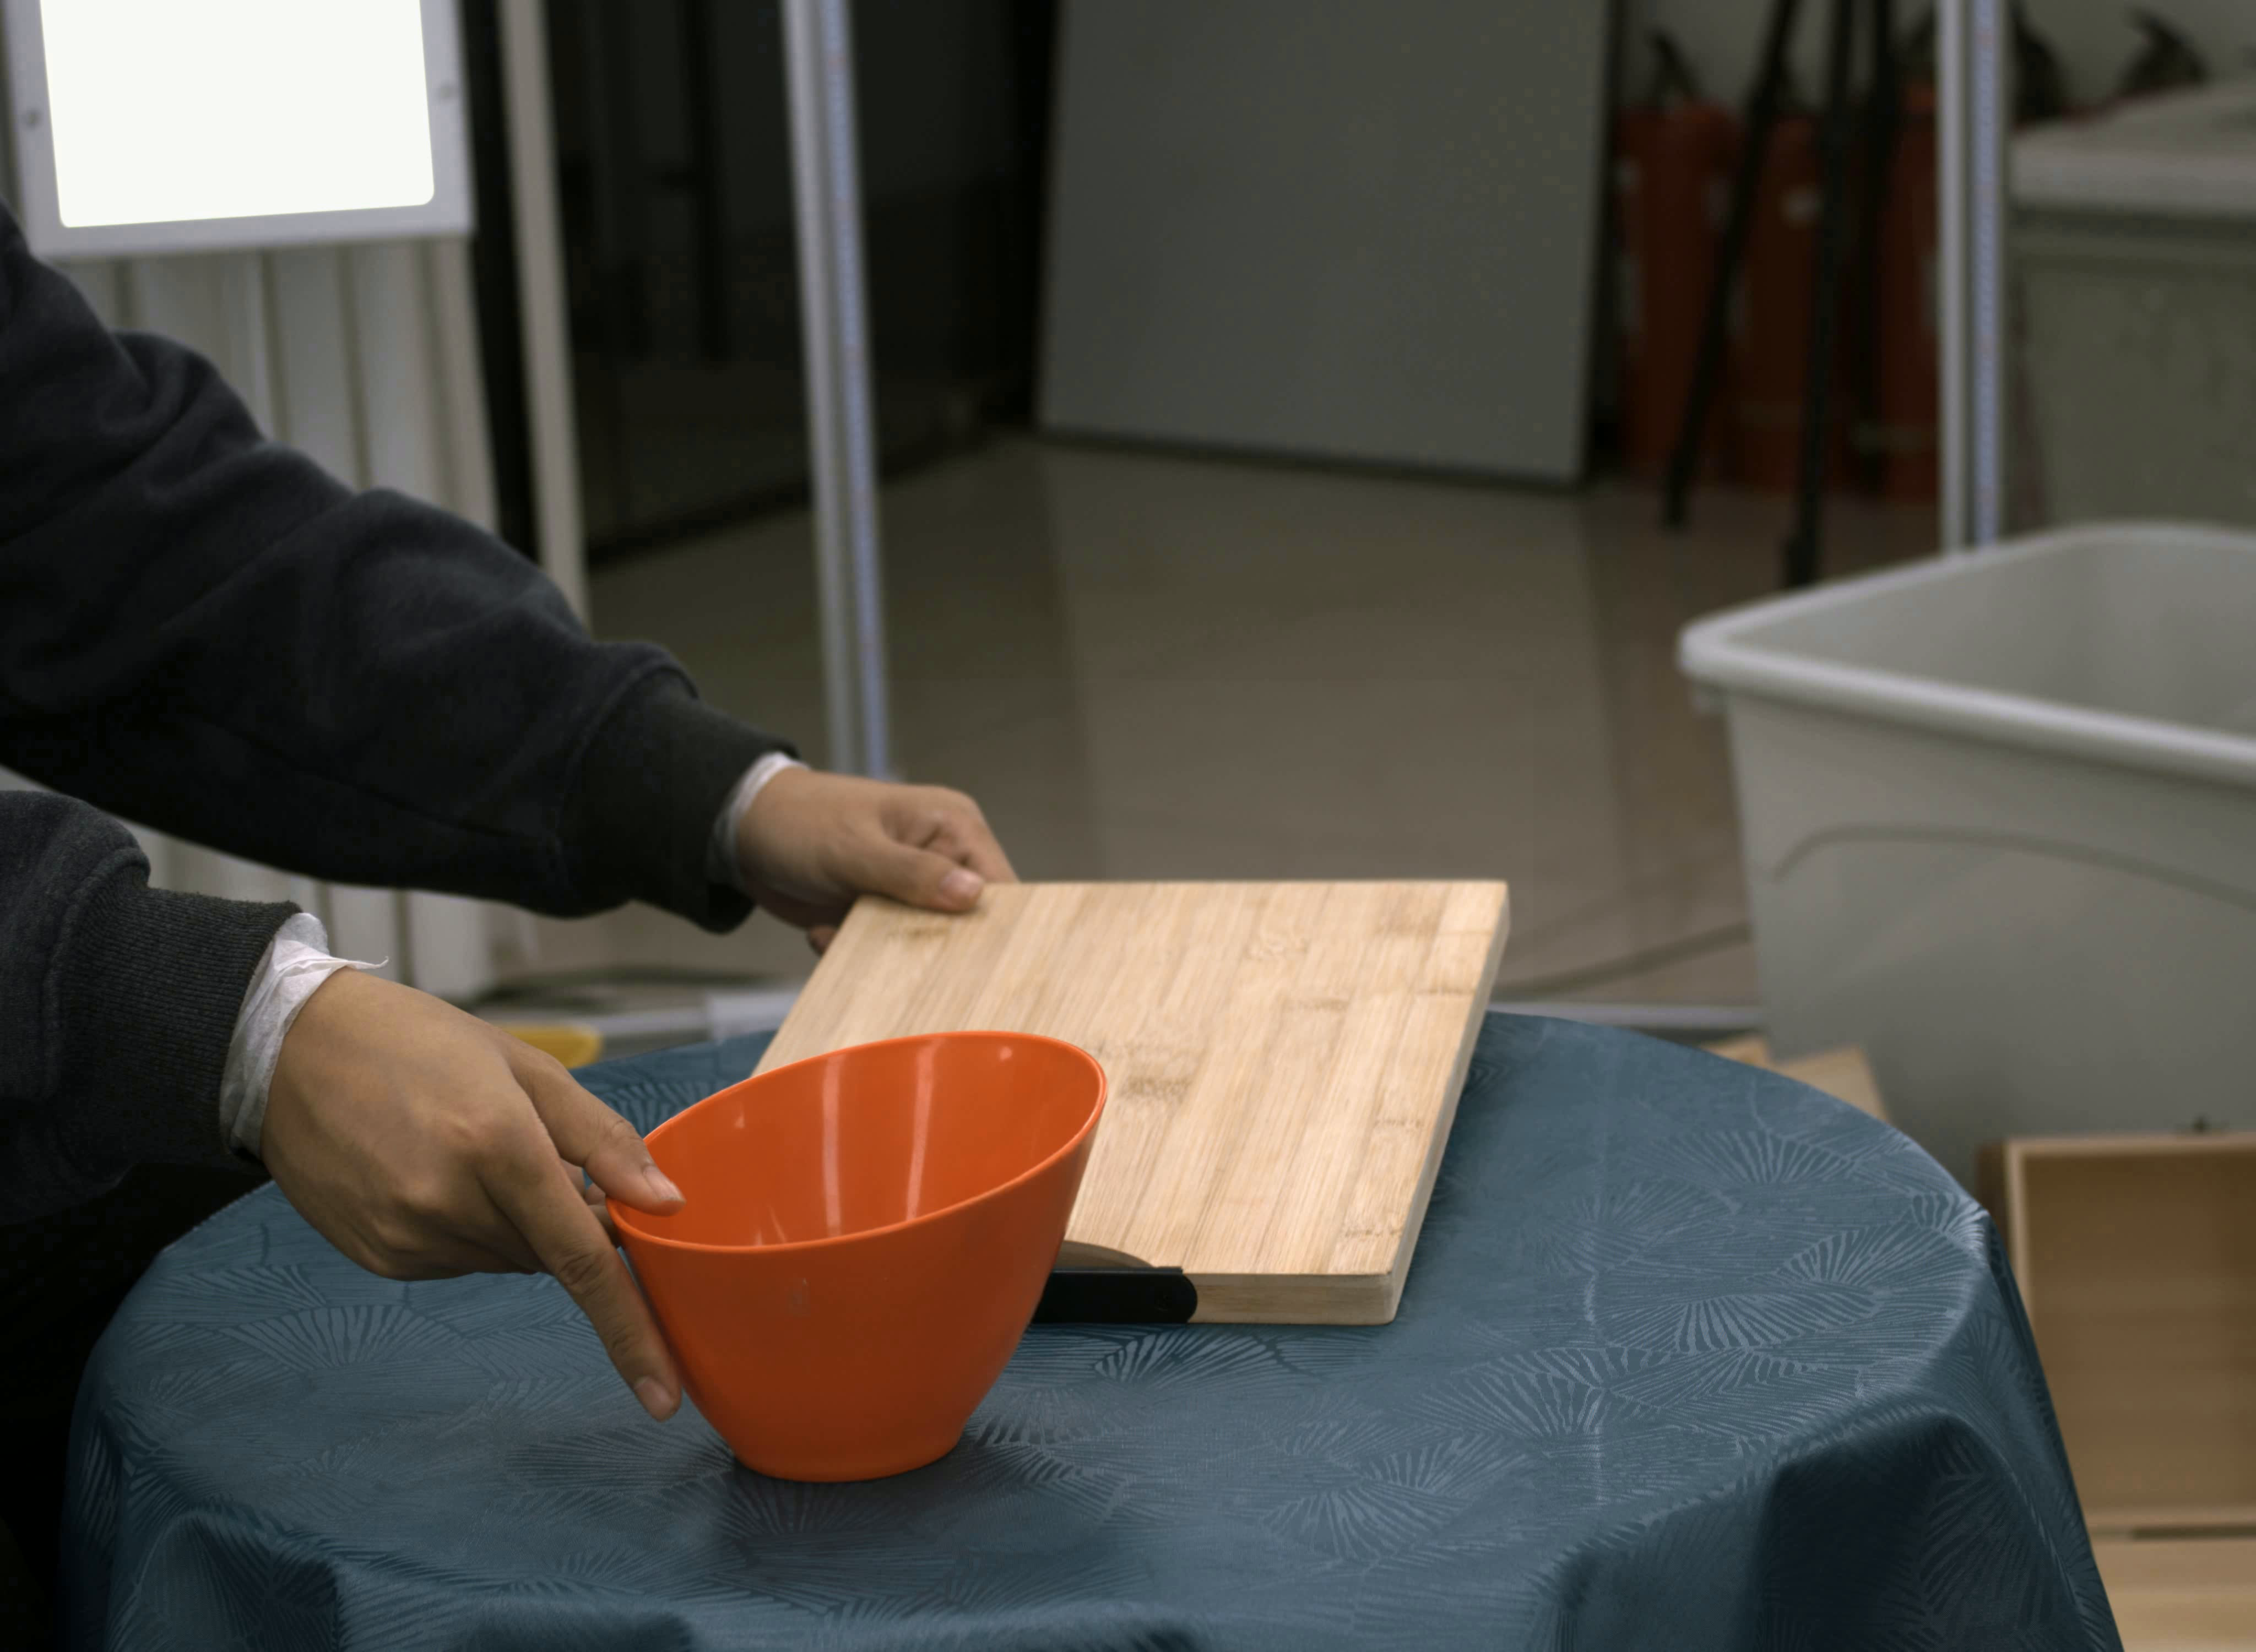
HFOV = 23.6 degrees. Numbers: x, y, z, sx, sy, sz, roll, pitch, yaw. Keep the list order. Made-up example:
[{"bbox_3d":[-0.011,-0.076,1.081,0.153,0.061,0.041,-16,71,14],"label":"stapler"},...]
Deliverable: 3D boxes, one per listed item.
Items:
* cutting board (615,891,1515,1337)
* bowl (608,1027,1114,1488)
[{"bbox_3d":[-0.009,0.091,1.798,0.249,0.024,0.347,-2,19,11],"label":"cutting board"},{"bbox_3d":[-0.073,0.127,1.549,0.146,0.106,0.148,-3,15,0],"label":"bowl"}]
